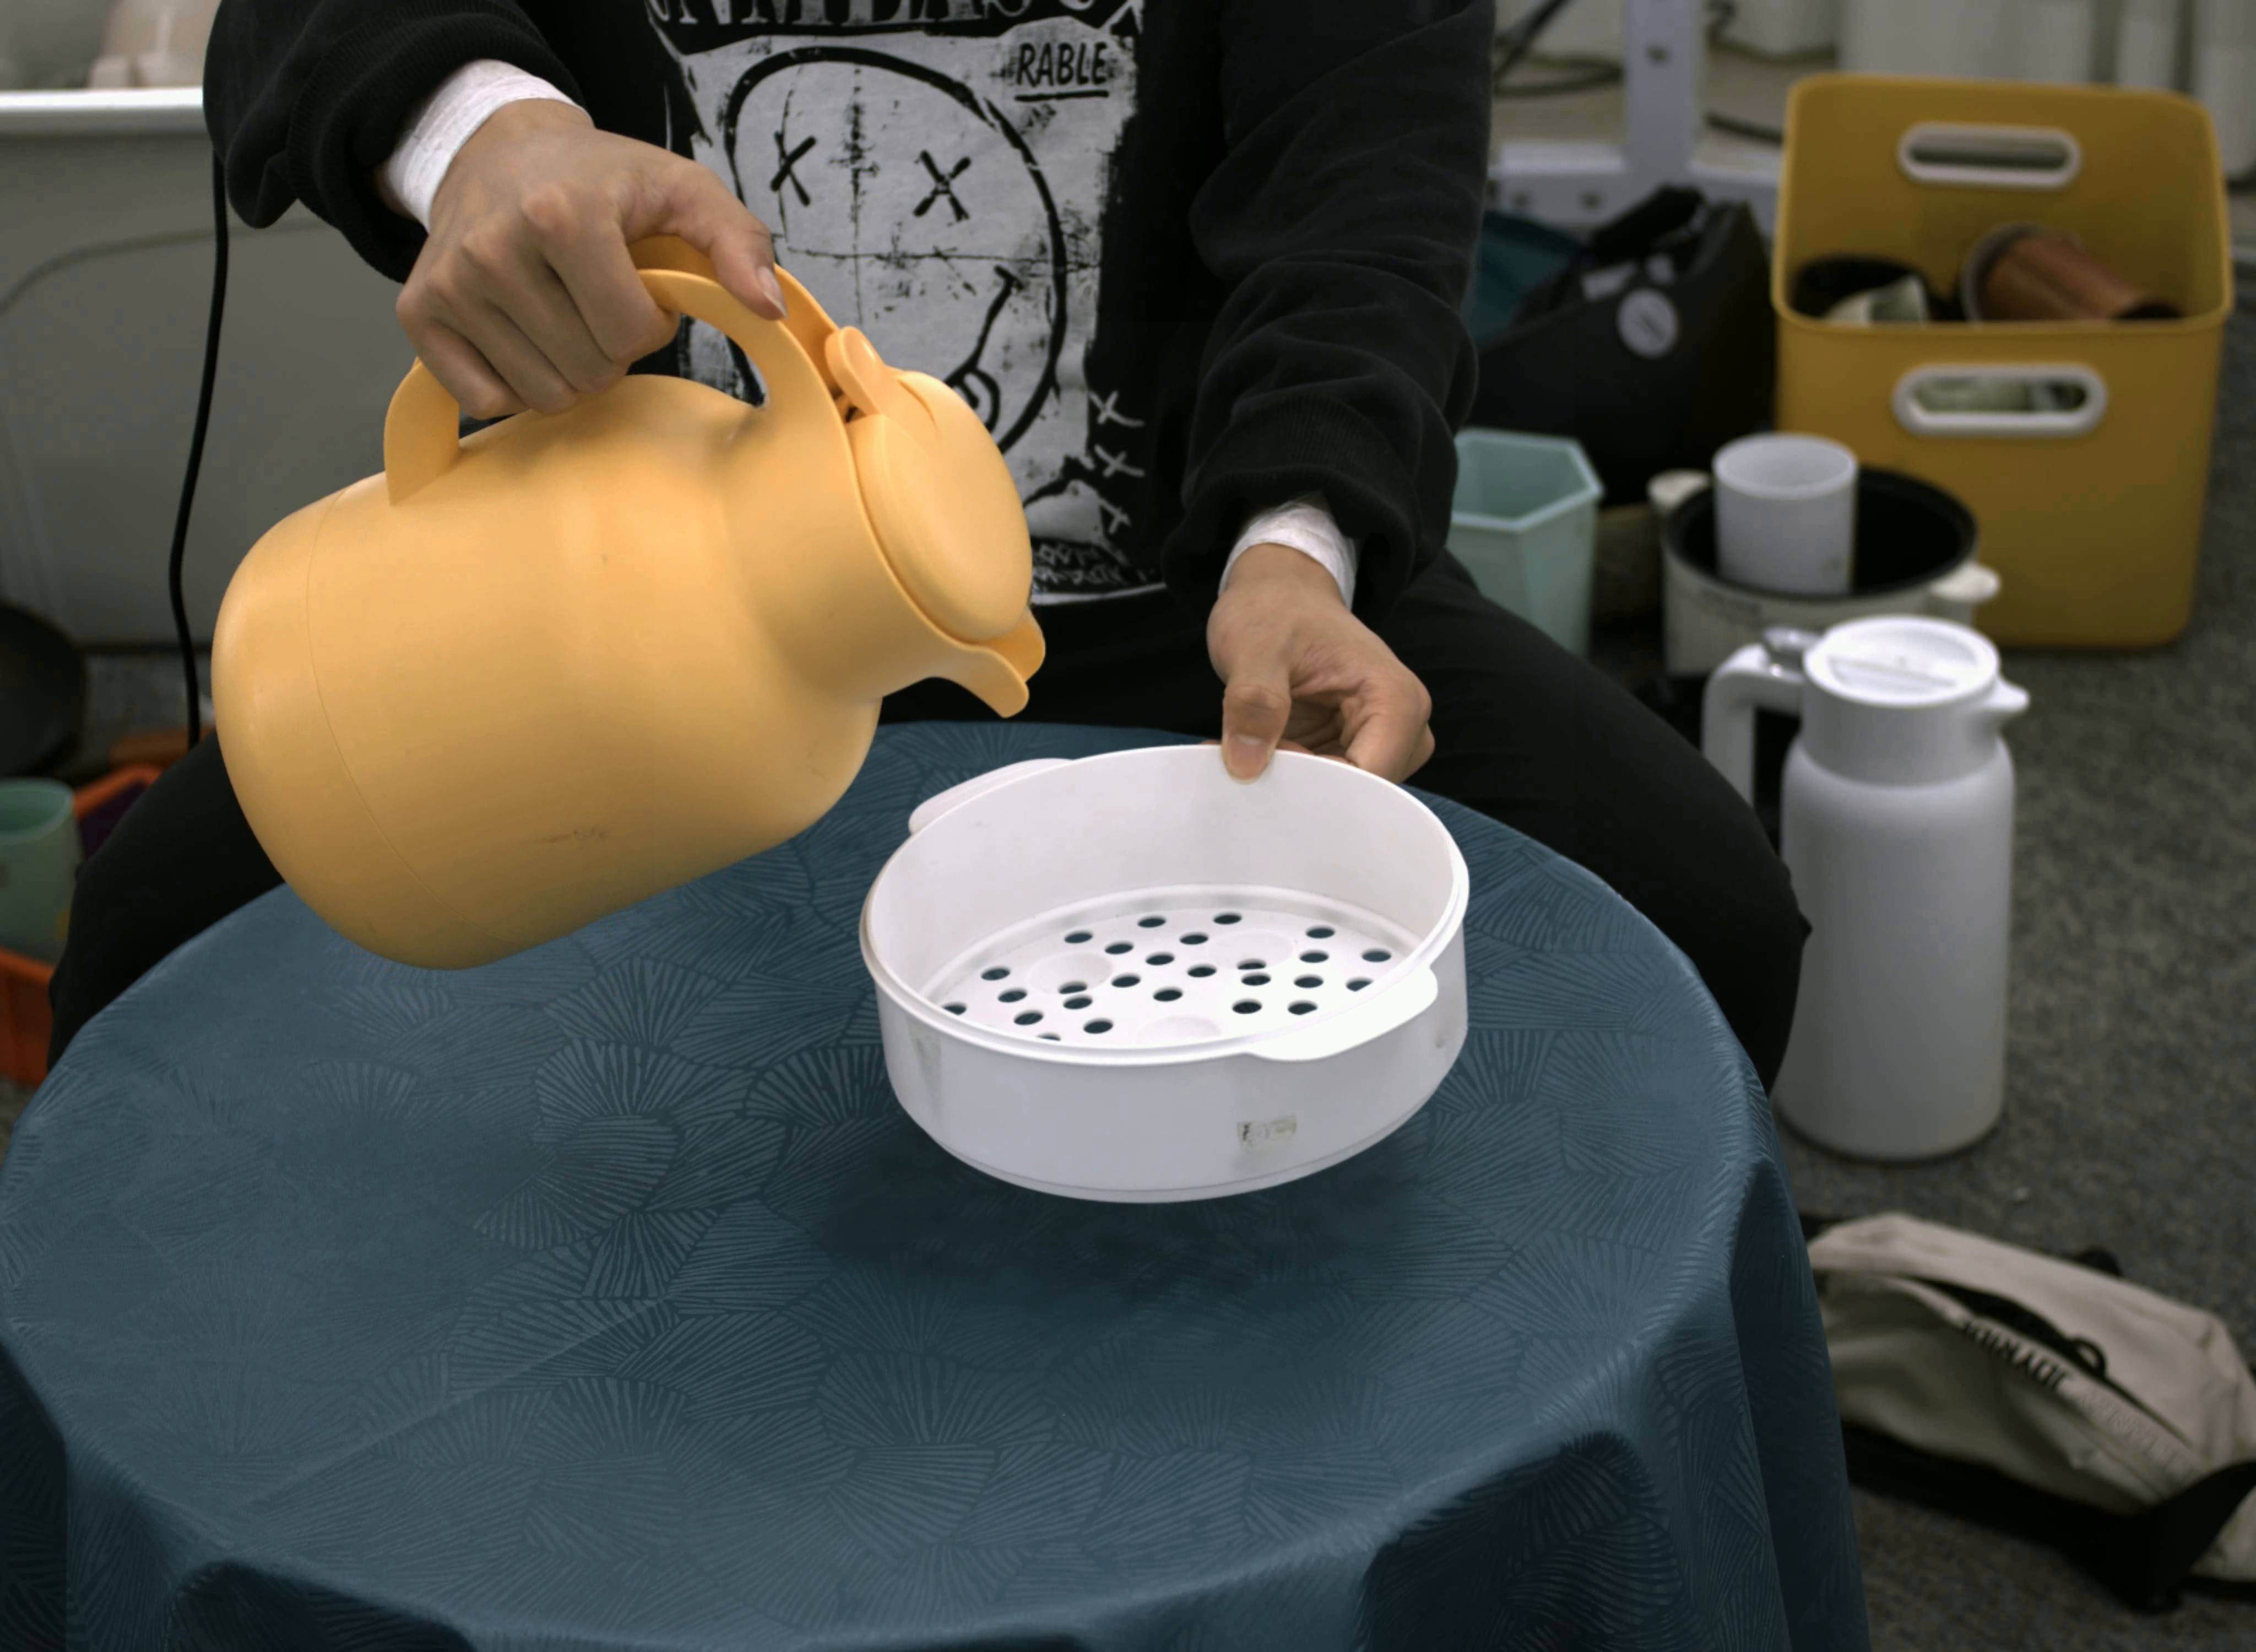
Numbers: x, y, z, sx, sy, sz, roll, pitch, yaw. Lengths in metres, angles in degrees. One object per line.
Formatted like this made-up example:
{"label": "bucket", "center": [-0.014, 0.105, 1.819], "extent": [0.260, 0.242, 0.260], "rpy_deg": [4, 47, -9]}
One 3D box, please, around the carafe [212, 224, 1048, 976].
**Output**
{"label": "carafe", "center": [-0.165, -0.078, 1.802], "extent": [0.257, 0.201, 0.166], "rpy_deg": [-23, 23, 21]}

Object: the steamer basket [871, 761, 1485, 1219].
{"label": "steamer basket", "center": [0.019, 0.054, 1.841], "extent": [0.204, 0.068, 0.231], "rpy_deg": [-23, 33, -29]}
